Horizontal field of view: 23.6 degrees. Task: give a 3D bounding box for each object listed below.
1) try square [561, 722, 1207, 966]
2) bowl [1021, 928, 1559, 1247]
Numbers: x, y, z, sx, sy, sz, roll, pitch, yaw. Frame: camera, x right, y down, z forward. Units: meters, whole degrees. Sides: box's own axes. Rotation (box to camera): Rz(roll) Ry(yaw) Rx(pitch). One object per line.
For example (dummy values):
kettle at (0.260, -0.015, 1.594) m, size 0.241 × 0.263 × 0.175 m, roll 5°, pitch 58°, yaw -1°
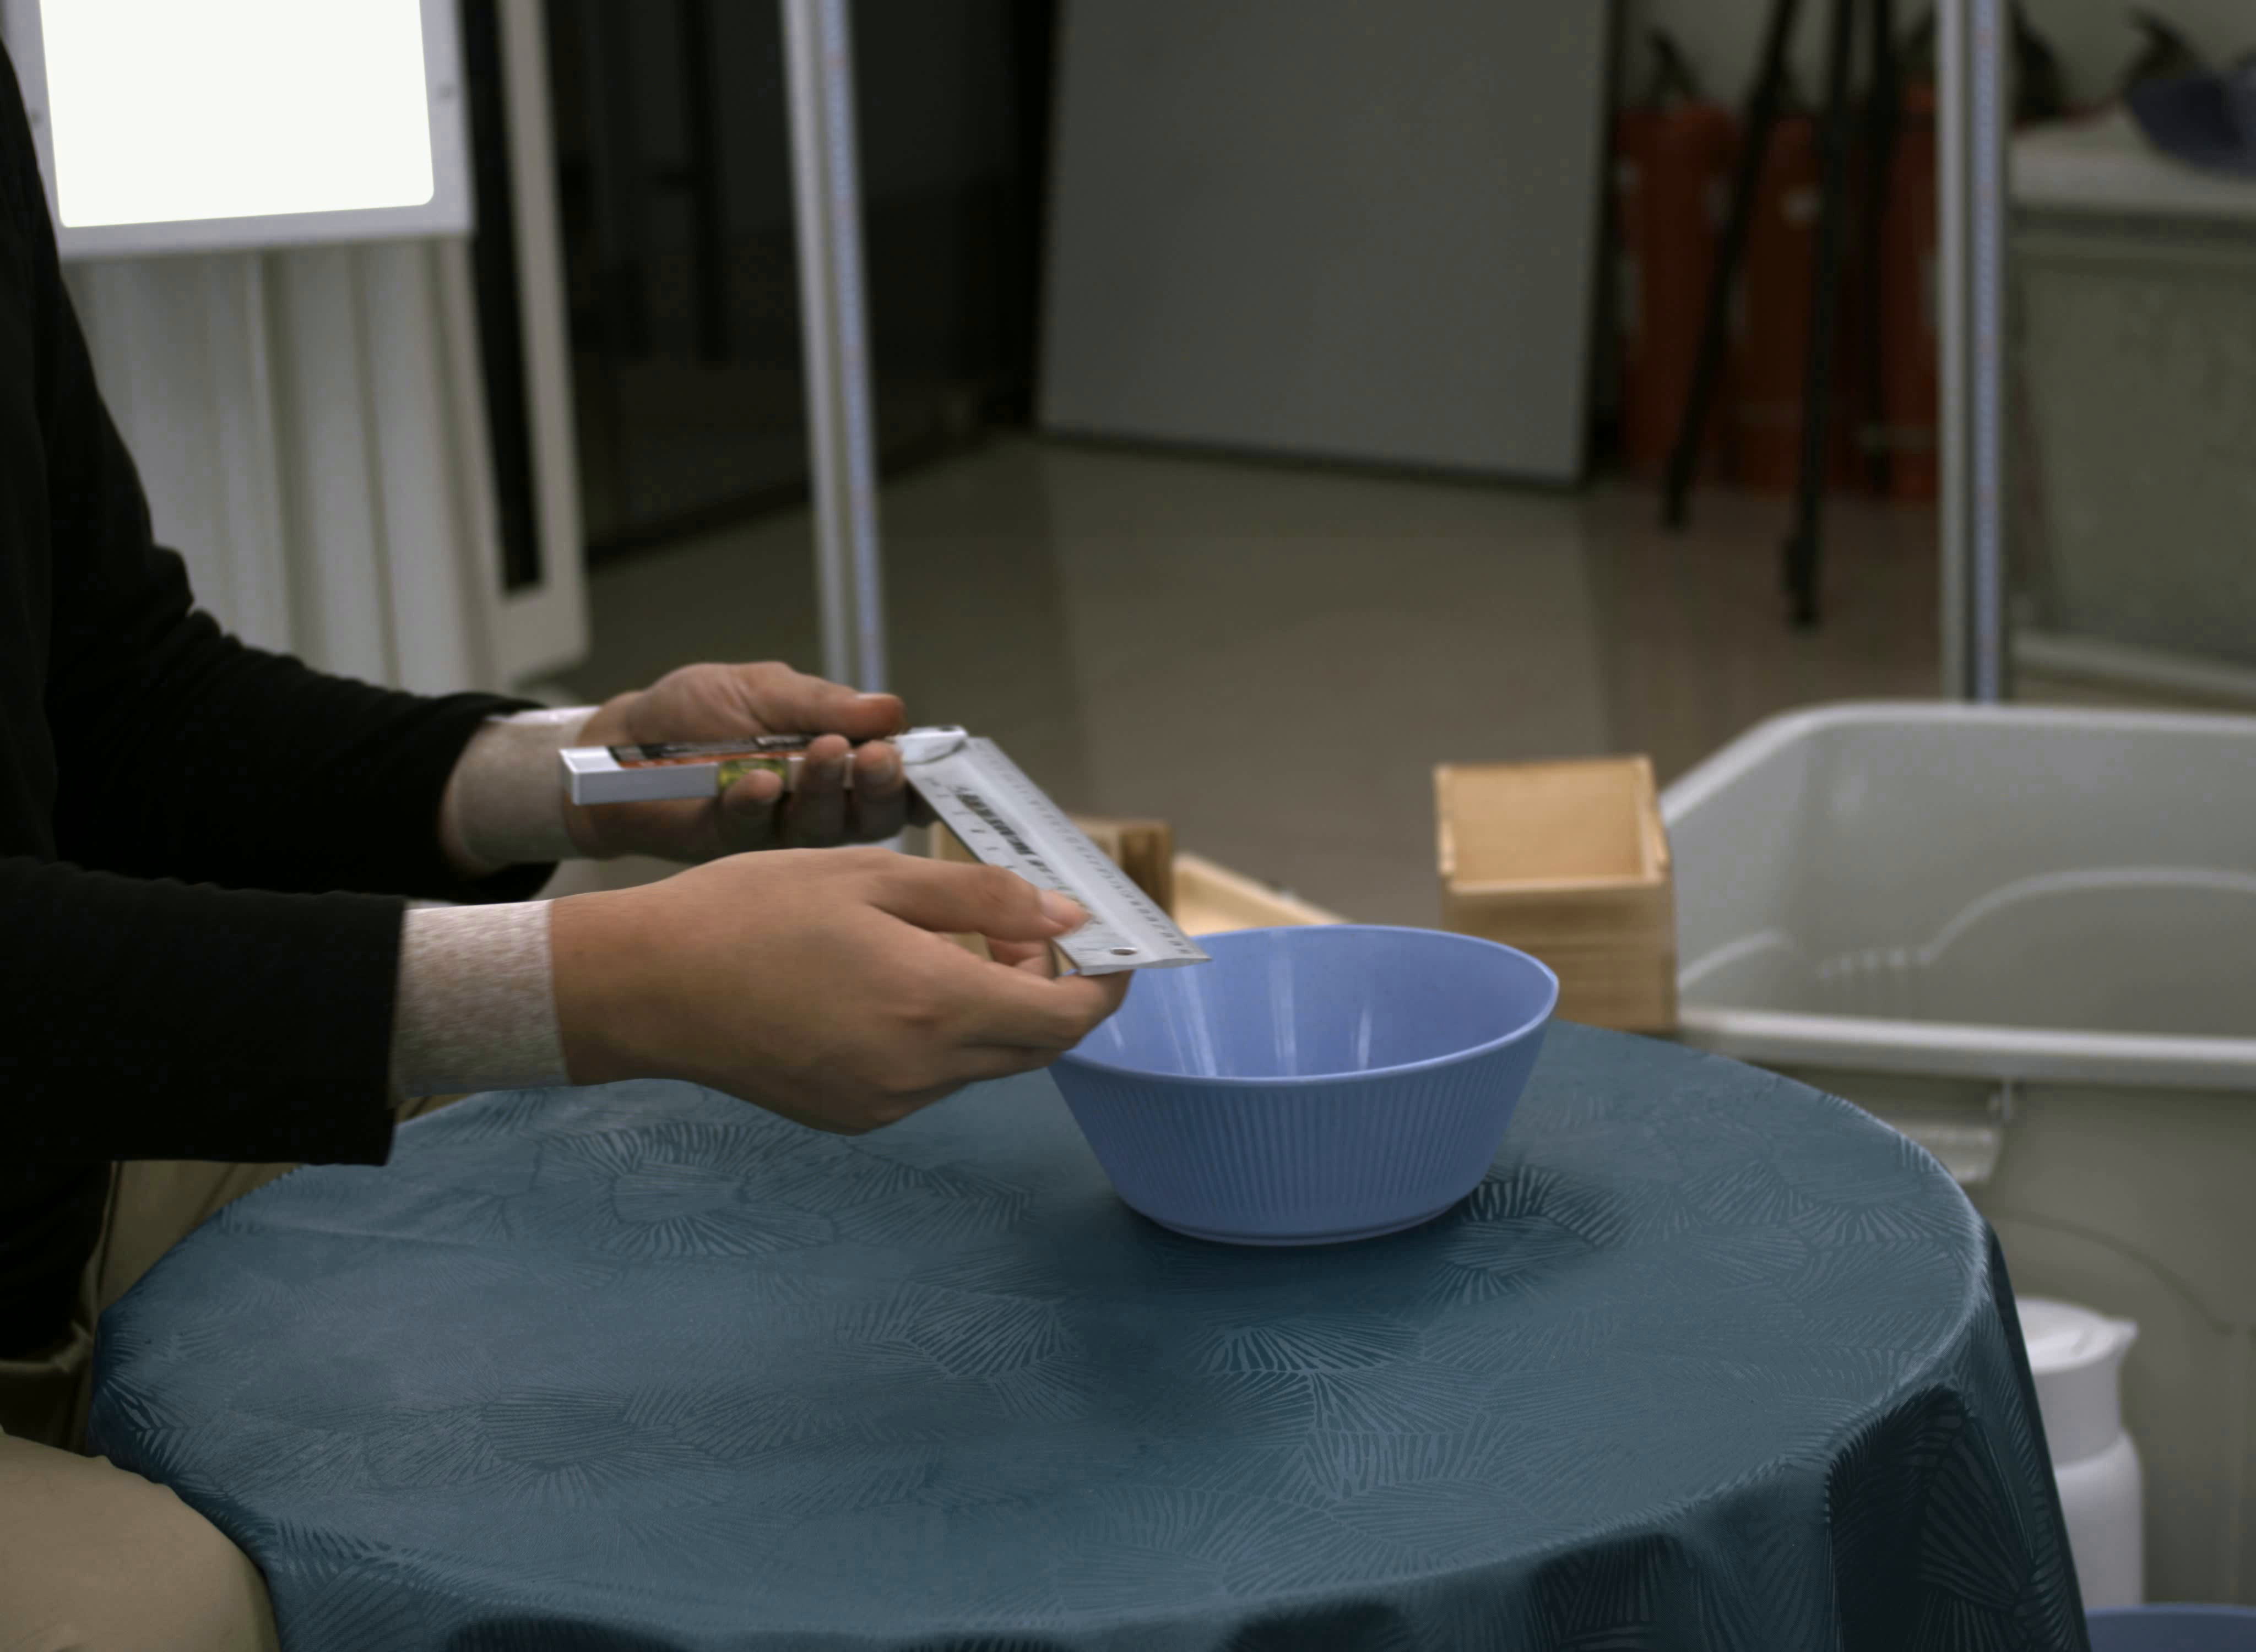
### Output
try square at (-0.085, 0.010, 1.713) m, size 0.149 × 0.016 × 0.315 m, roll -7°, pitch 14°, yaw -12°
bowl at (0.054, 0.087, 1.746) m, size 0.174 × 0.071 × 0.176 m, roll -4°, pitch 14°, yaw 0°
